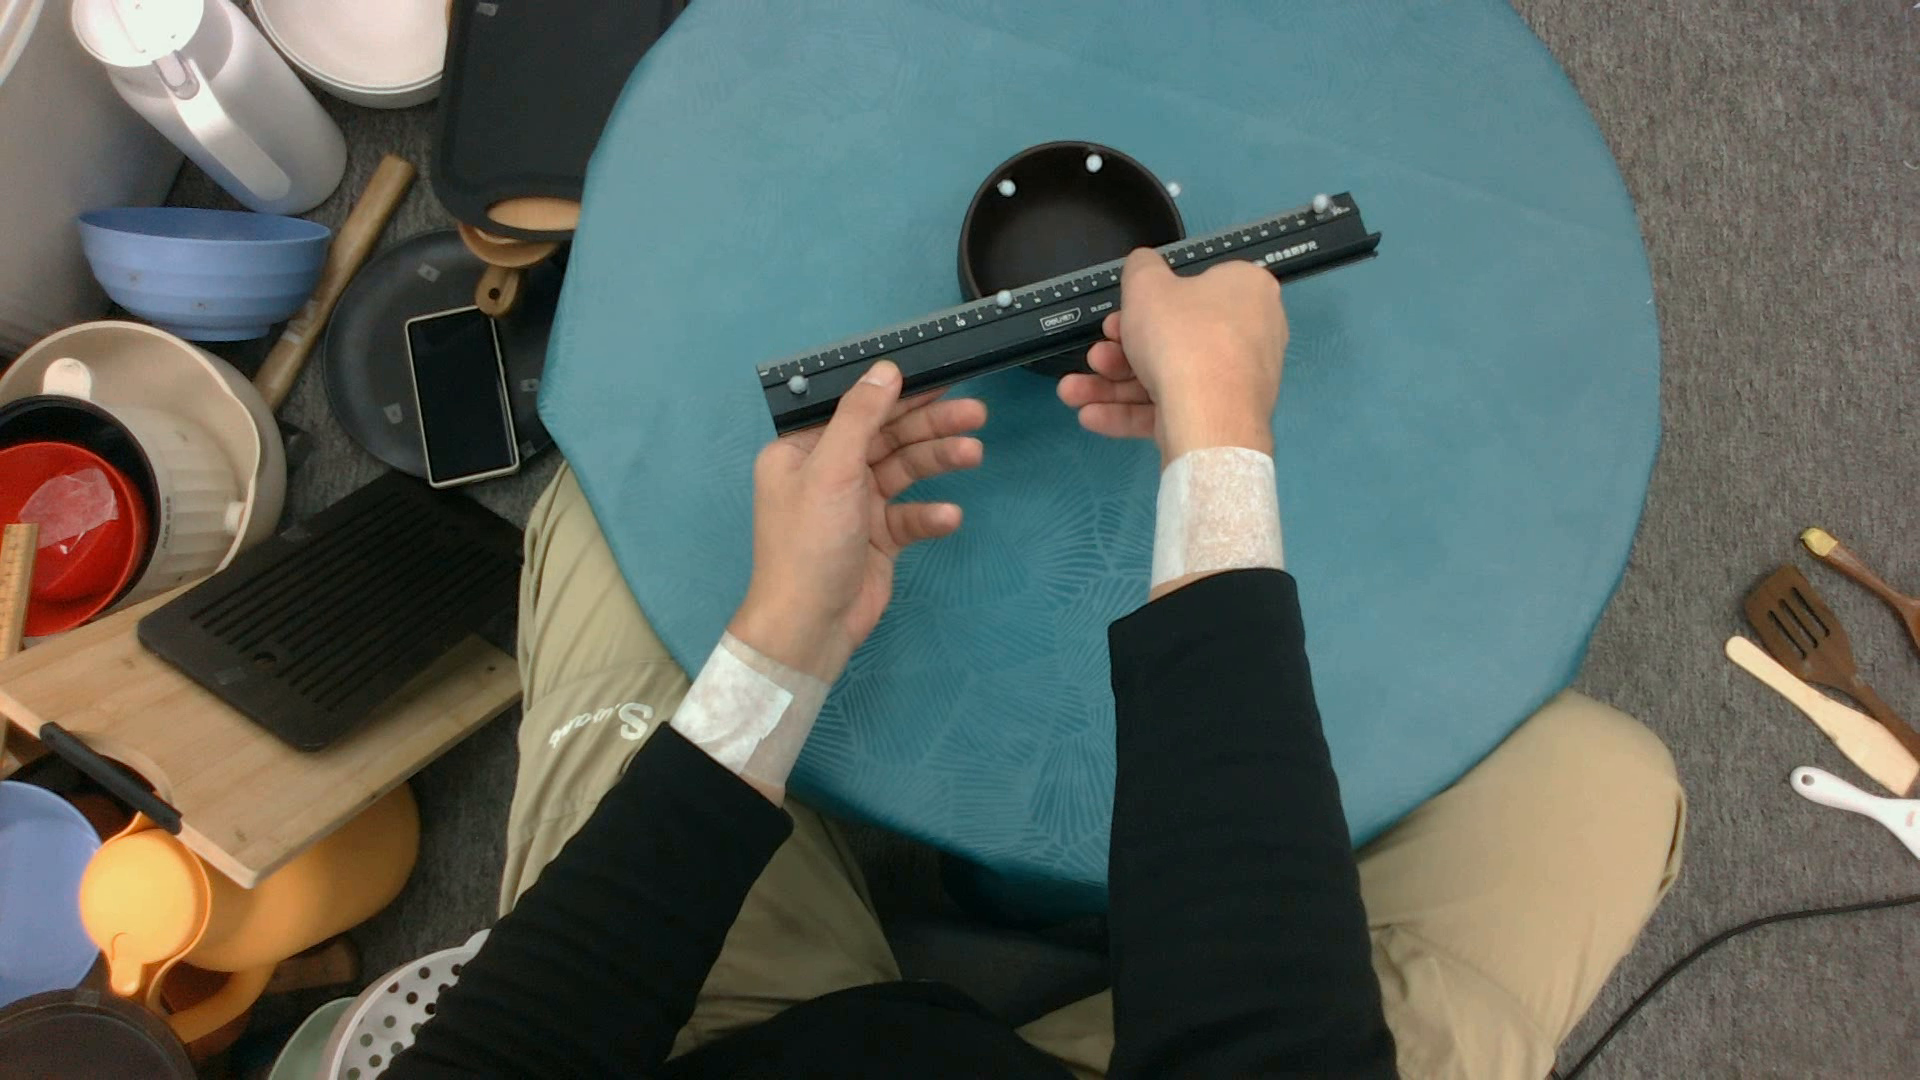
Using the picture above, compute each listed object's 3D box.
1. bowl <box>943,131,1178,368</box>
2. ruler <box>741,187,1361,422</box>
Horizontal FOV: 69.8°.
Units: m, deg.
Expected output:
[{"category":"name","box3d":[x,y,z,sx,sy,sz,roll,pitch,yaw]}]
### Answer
[{"category":"bowl","box3d":[0.049,-0.142,0.711,0.118,0.069,0.118,1,74,-3]},{"category":"ruler","box3d":[0.049,-0.120,0.668,0.313,0.017,0.039,-17,76,-9]}]
